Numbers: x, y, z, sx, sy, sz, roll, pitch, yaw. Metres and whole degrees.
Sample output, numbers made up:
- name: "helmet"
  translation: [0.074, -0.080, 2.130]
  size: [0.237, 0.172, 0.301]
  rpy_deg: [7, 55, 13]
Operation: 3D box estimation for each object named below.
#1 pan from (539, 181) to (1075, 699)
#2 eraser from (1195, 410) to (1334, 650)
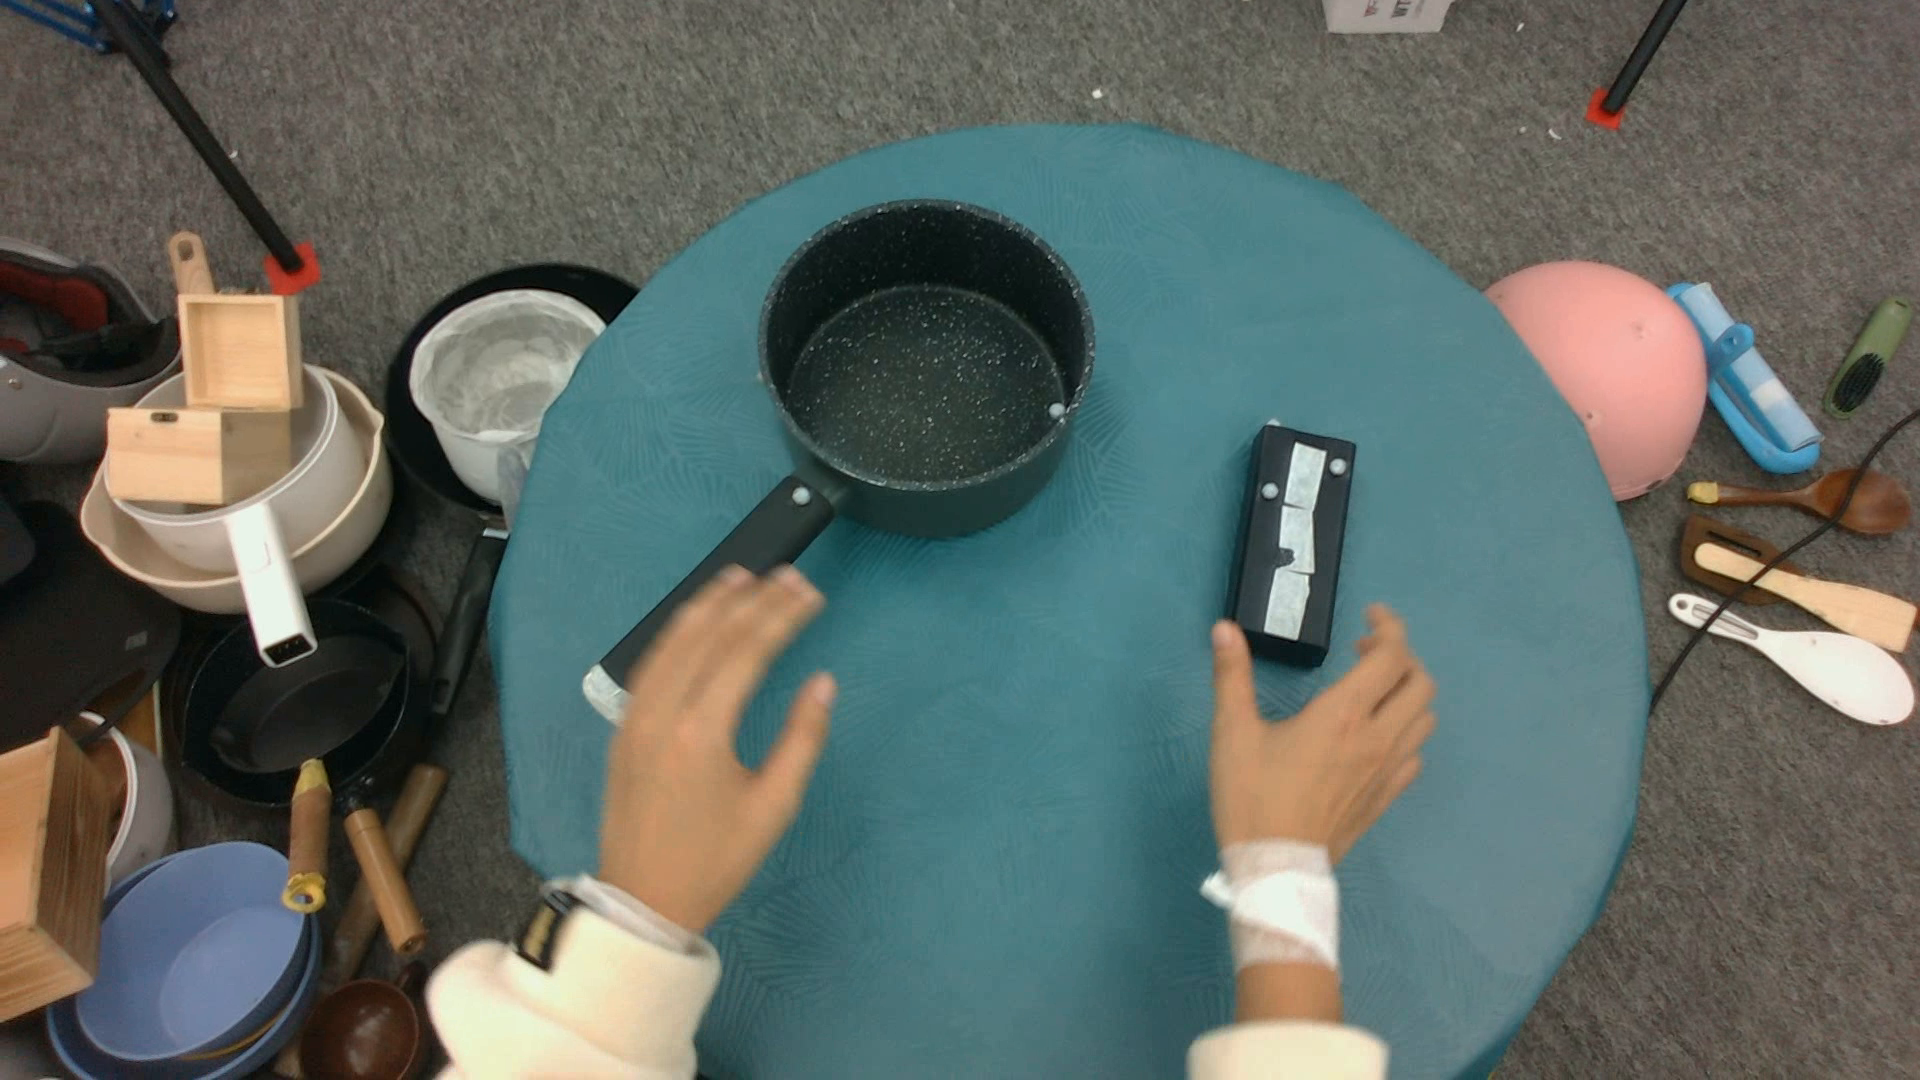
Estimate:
- name: "pan"
  translation: [-0.077, -0.040, 0.697]
  size: [0.172, 0.086, 0.330]
  rpy_deg: [36, 68, 12]
- name: "eraser"
  translation: [0.160, -0.007, 0.726]
  size: [0.053, 0.030, 0.126]
  rpy_deg: [13, 68, 4]
